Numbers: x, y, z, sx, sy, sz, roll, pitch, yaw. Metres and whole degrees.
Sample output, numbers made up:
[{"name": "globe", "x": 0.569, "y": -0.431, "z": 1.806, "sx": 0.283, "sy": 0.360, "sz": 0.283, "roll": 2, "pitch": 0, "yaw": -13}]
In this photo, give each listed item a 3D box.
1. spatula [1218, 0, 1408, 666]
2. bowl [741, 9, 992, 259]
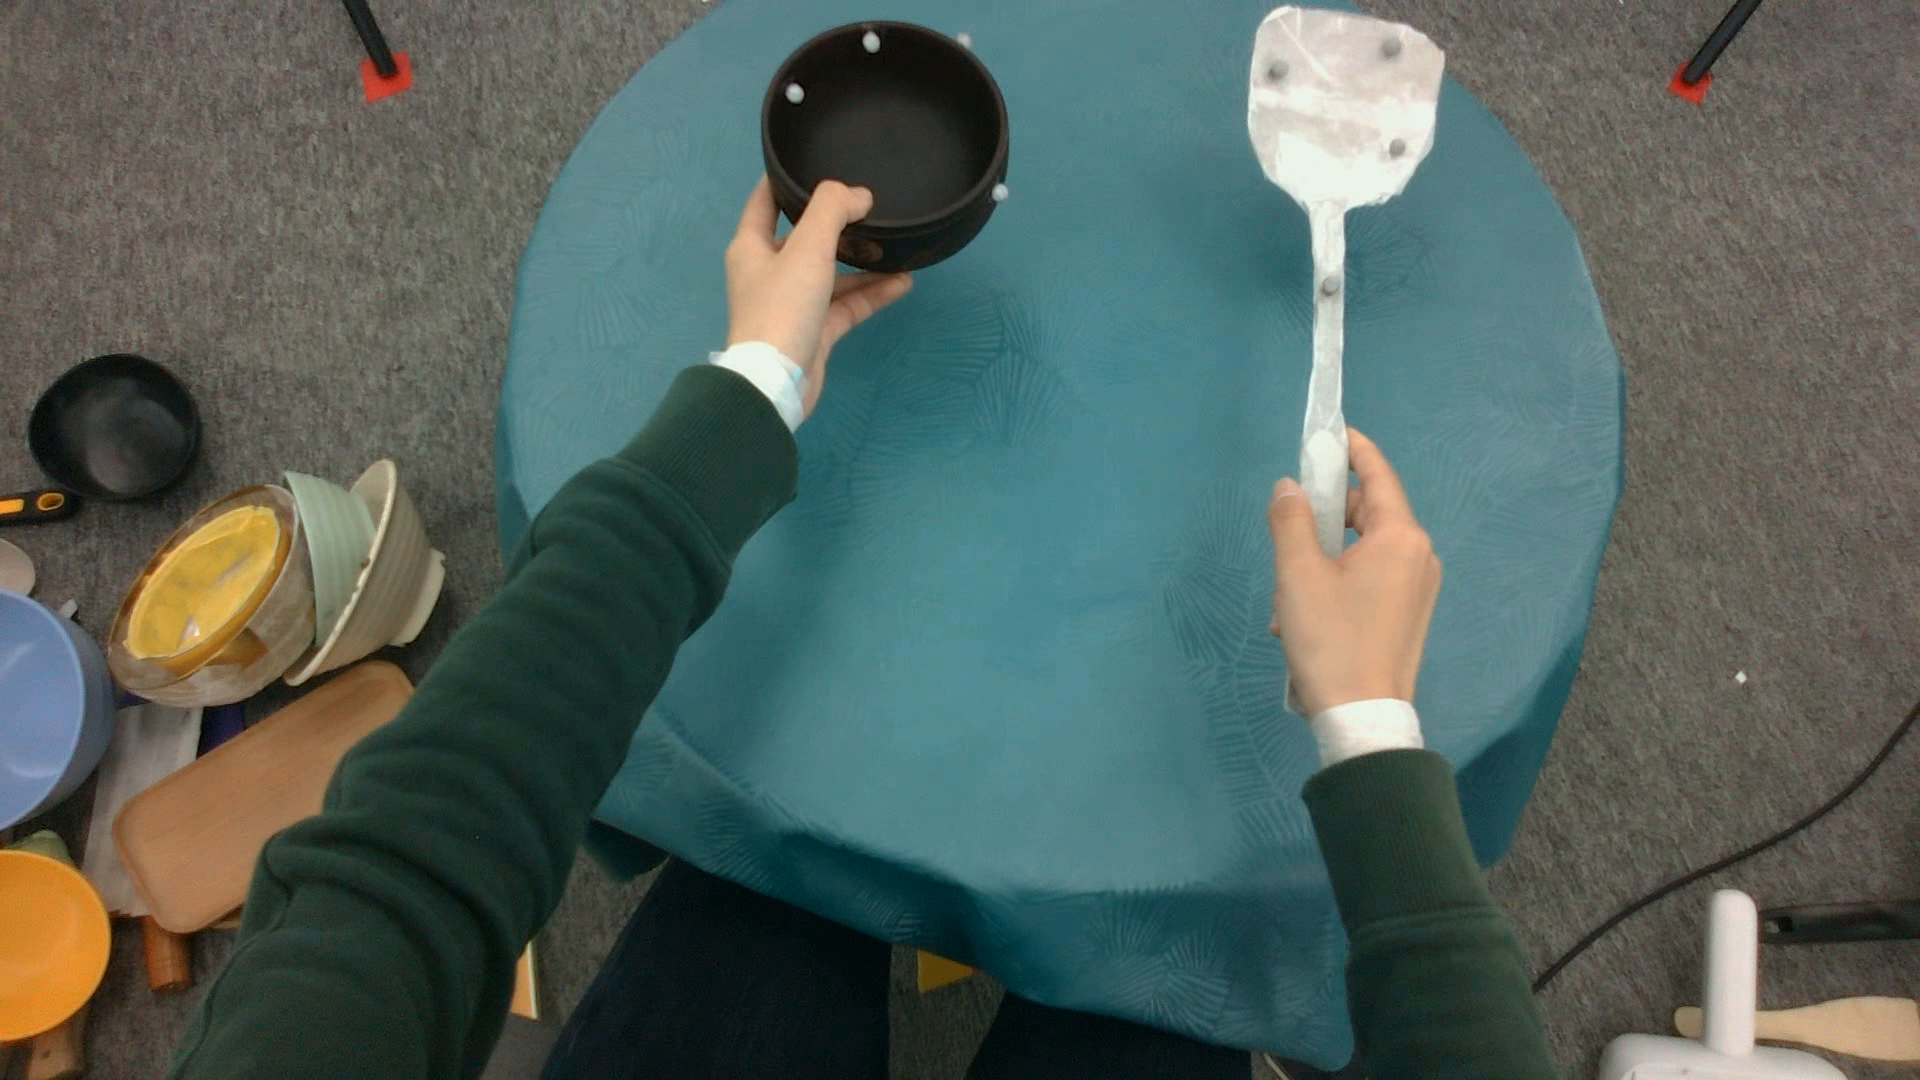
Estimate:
[{"name": "spatula", "x": 0.160, "y": -0.112, "z": 0.658, "sx": 0.099, "sy": 0.044, "sz": 0.366, "roll": 12, "pitch": 62, "yaw": -3}, {"name": "bowl", "x": -0.044, "y": -0.189, "z": 0.668, "sx": 0.118, "sy": 0.069, "sz": 0.118, "roll": 0, "pitch": 71, "yaw": -1}]
